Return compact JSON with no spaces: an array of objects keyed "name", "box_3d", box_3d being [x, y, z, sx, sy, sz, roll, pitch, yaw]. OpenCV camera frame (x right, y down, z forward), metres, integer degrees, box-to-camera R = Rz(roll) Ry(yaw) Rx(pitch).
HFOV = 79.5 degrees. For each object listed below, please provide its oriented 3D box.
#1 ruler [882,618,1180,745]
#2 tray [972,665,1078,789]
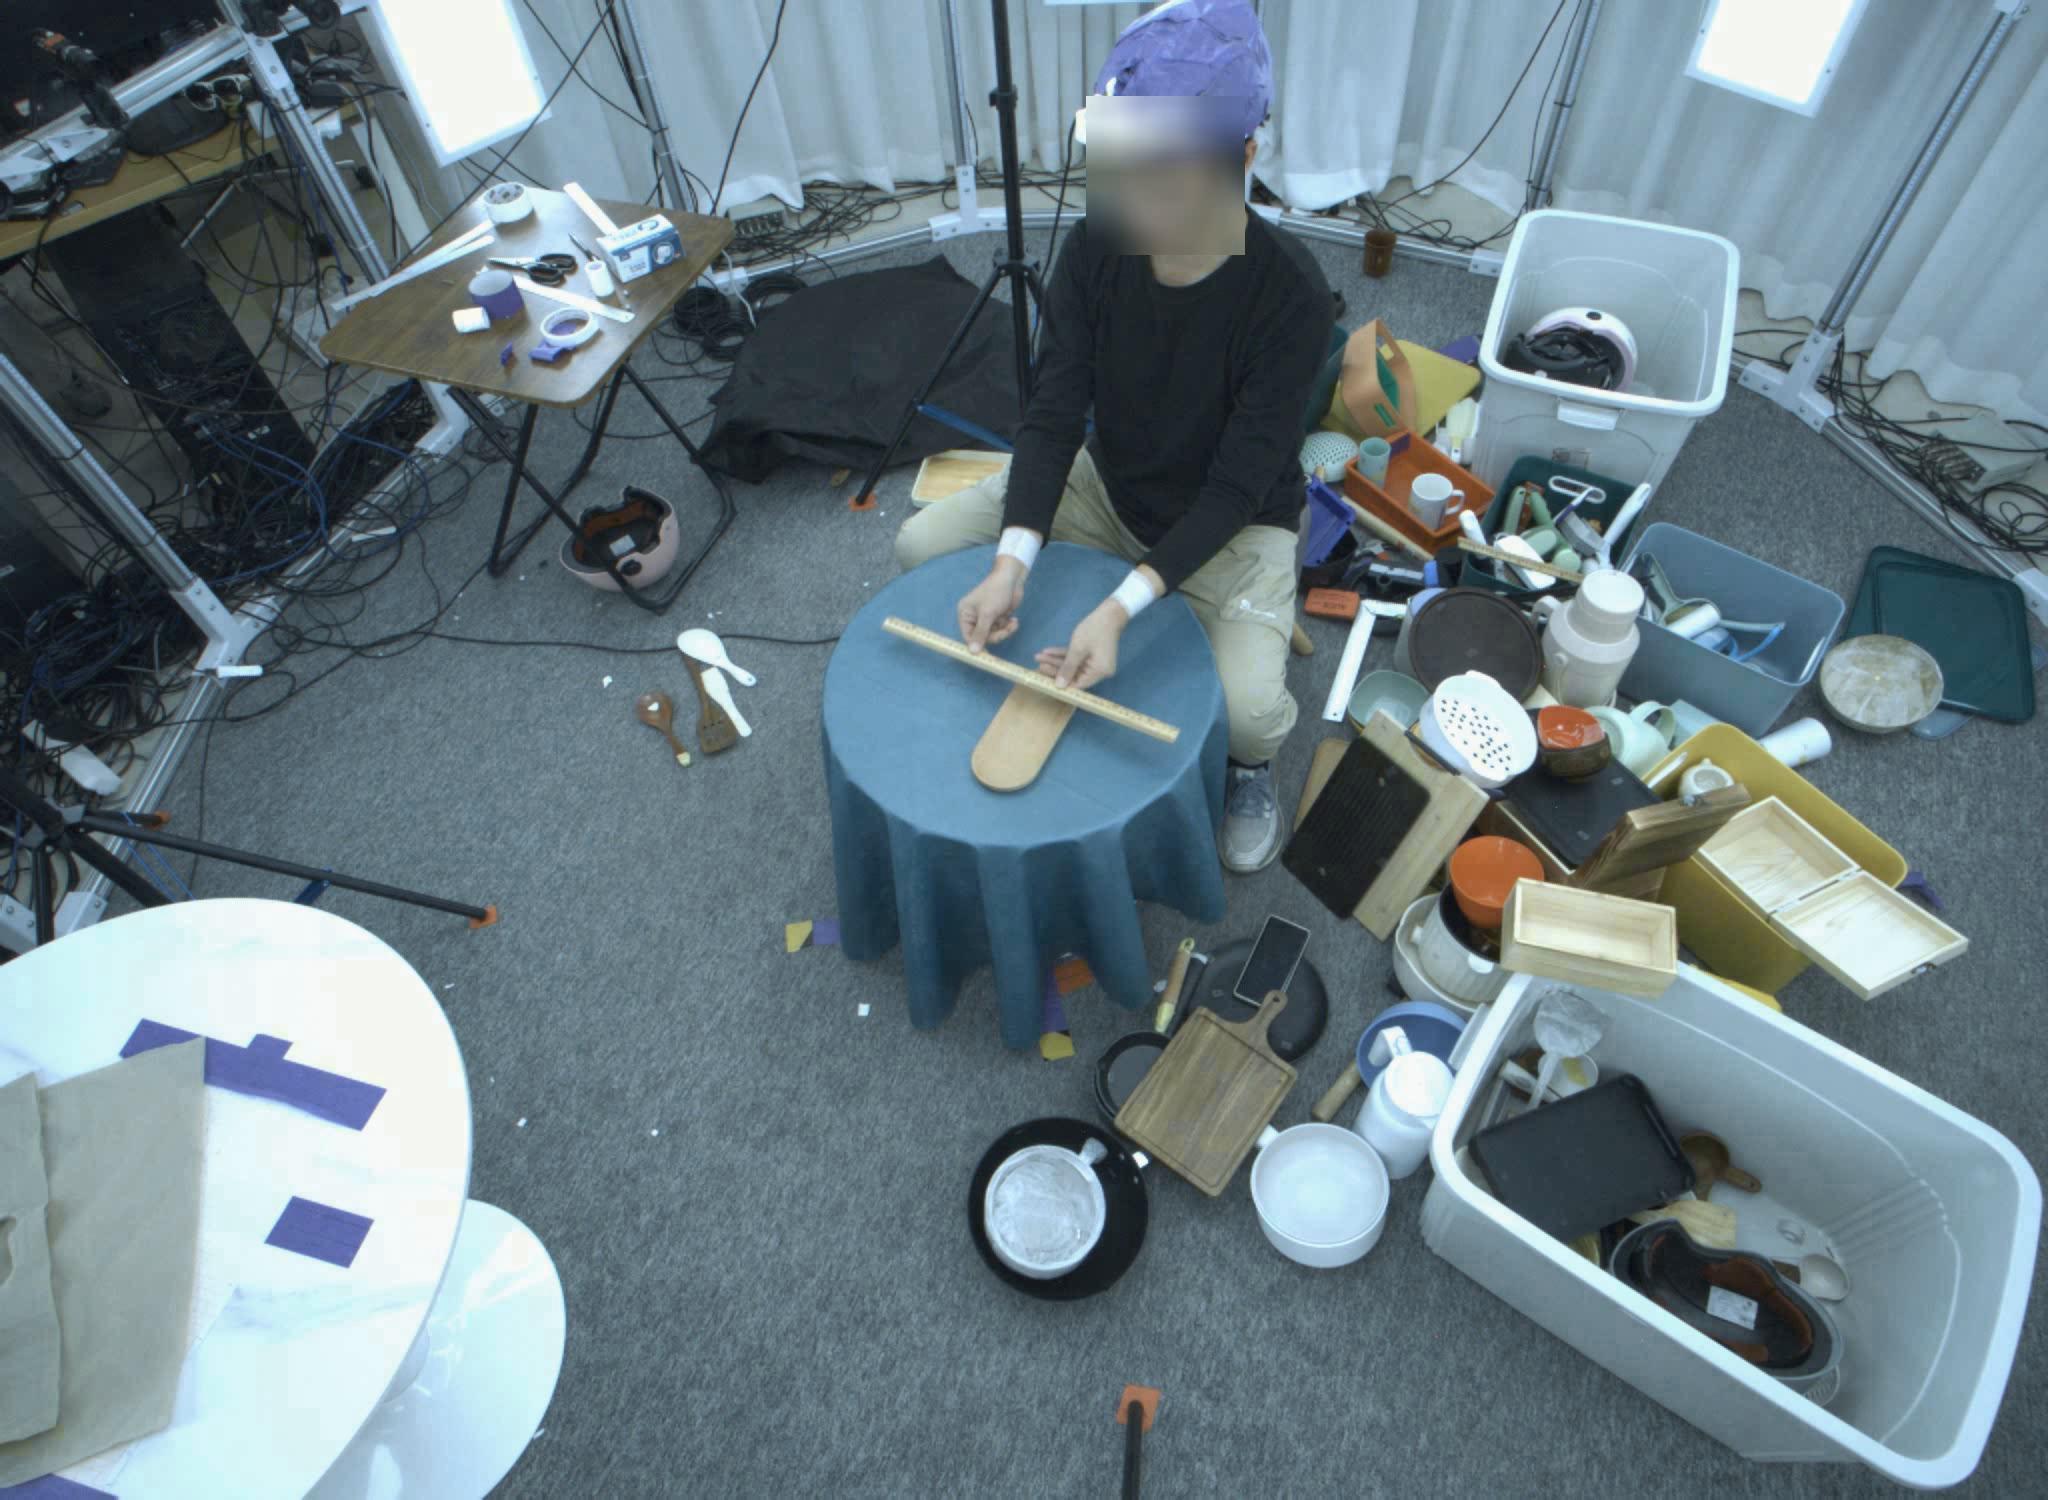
[{"name":"ruler","box_3d":[0.000,-0.107,1.808,0.493,0.006,0.027,23,68,19]},{"name":"tray","box_3d":[0.003,-0.035,1.803,0.100,0.020,0.231,20,56,13]}]
